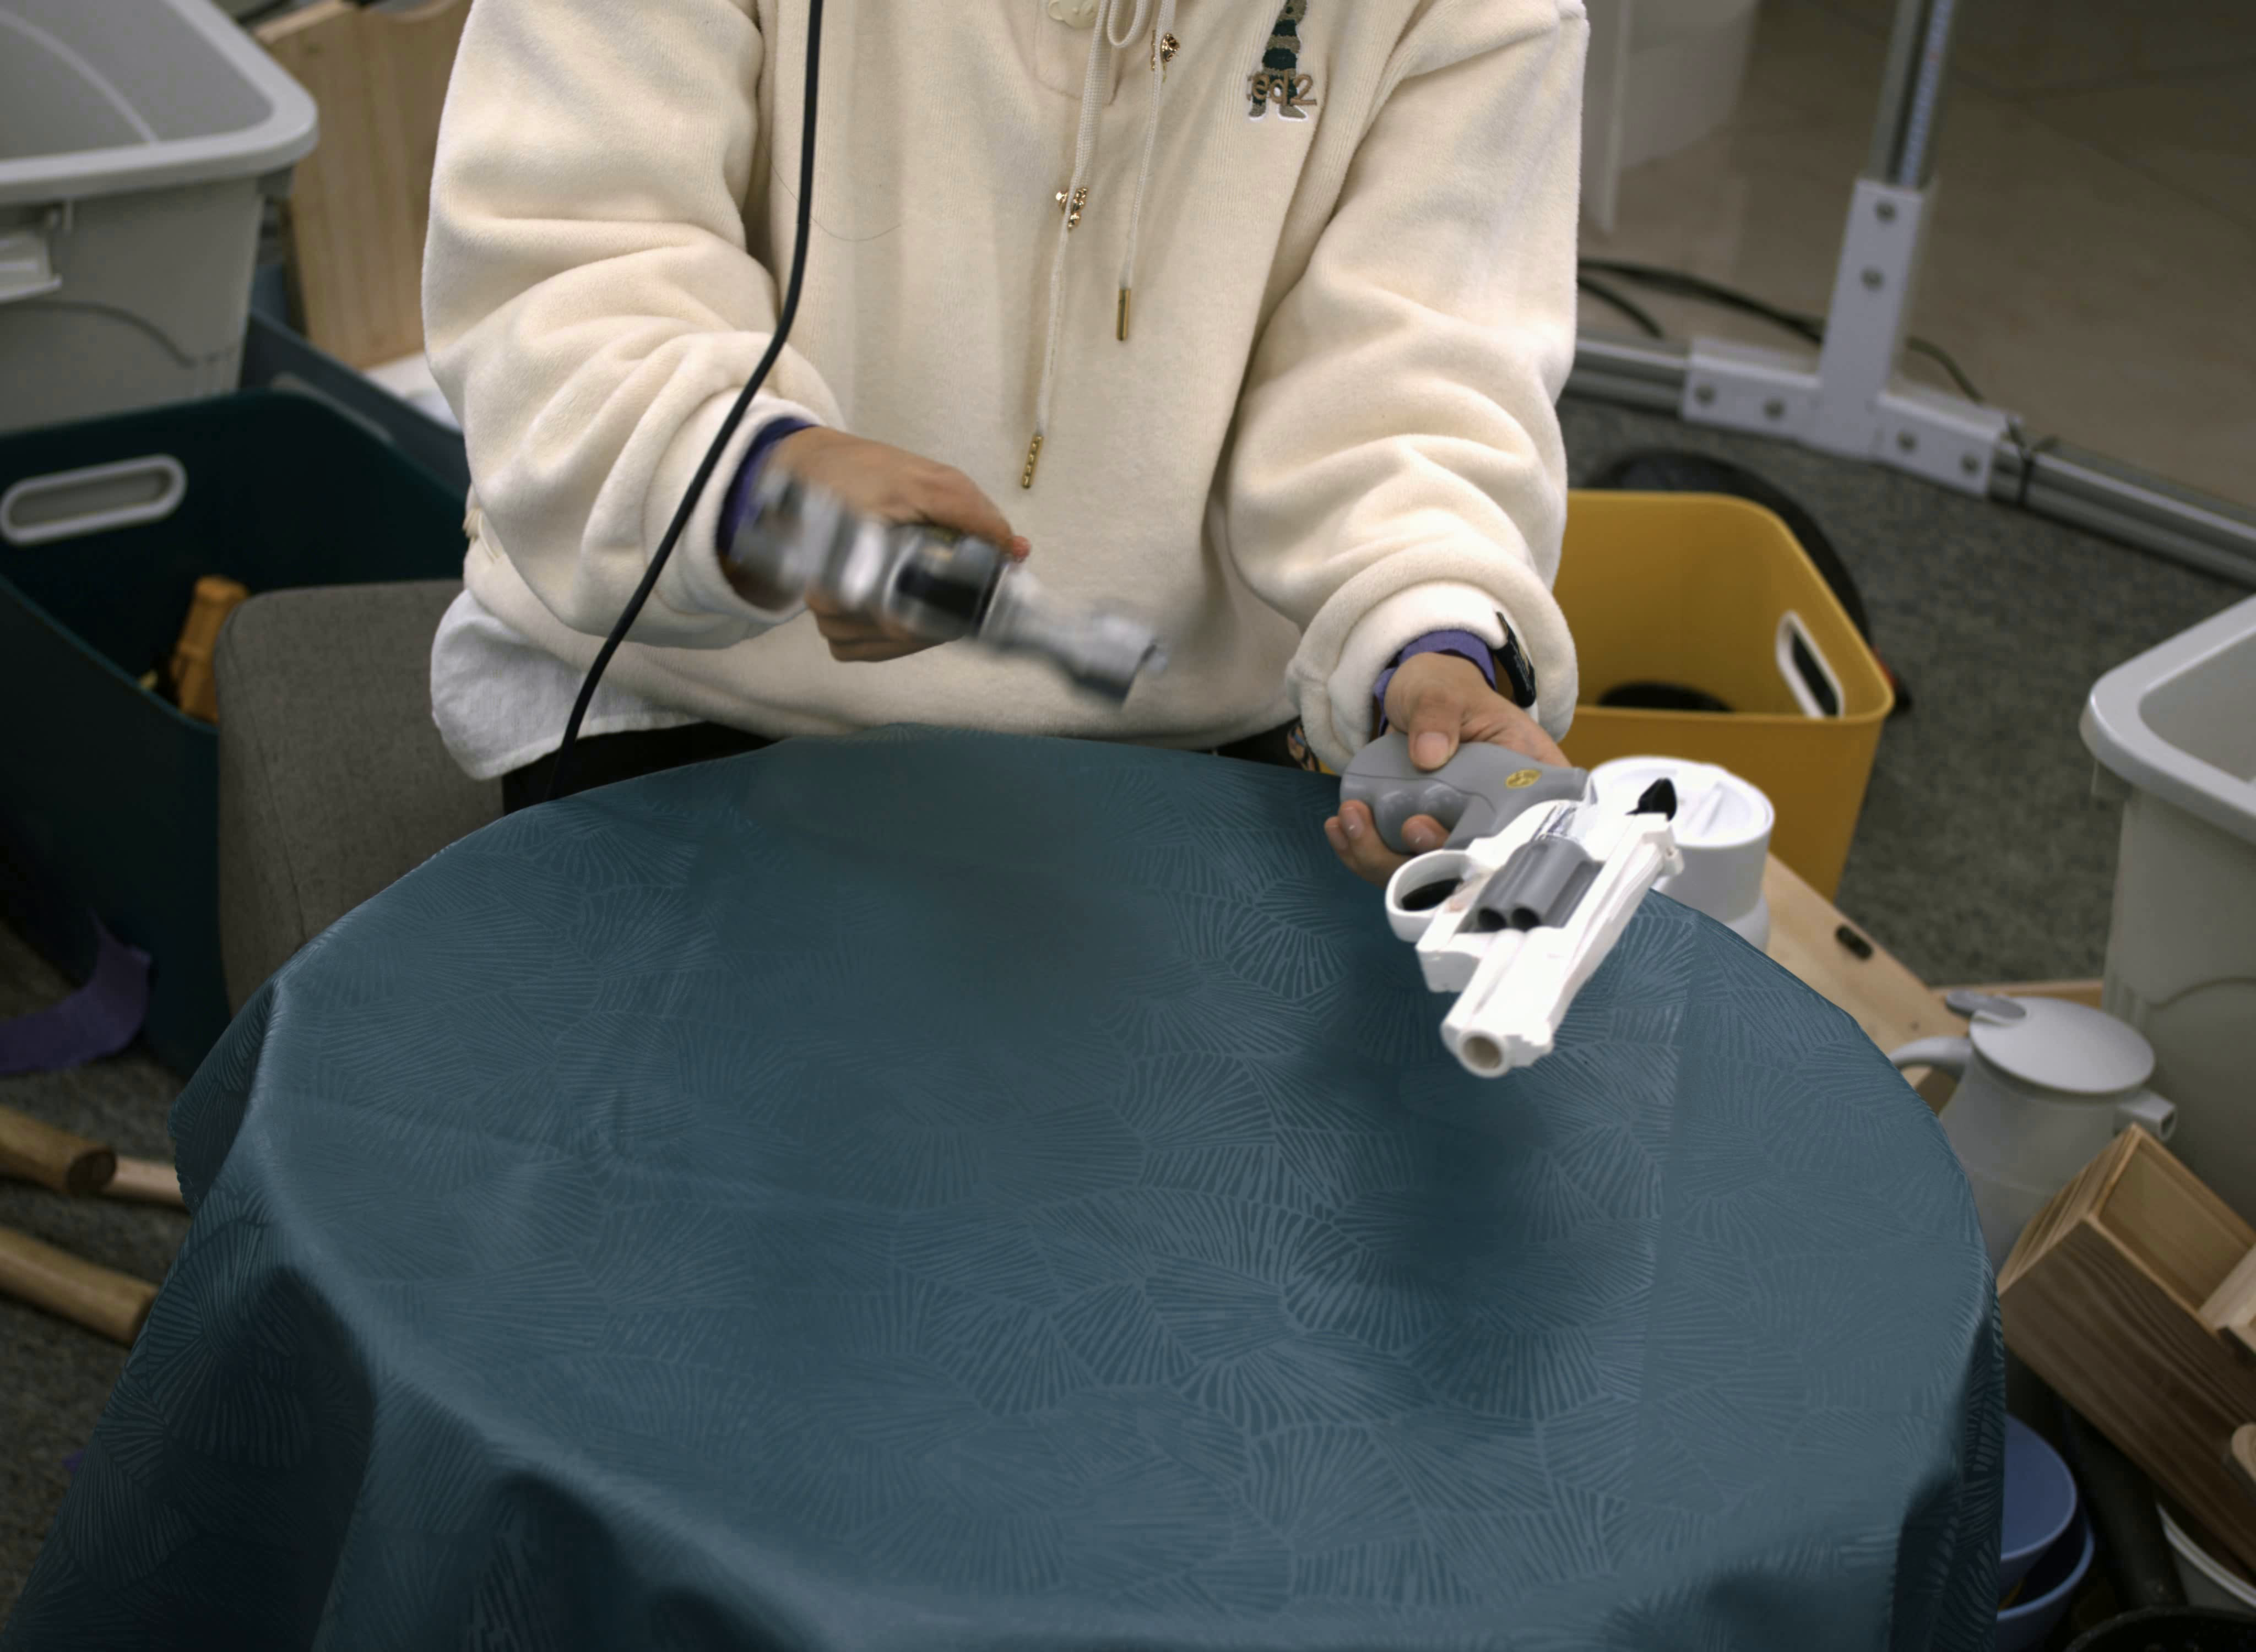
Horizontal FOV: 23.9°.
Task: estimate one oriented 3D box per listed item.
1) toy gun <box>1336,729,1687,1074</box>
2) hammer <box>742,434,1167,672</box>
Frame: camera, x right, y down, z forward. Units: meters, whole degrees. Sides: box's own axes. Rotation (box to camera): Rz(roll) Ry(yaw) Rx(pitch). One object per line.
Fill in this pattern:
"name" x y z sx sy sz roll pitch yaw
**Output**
"toy gun" 0.116 0.022 1.819 0.142 0.038 0.209 -4 29 27
"hammer" -0.061 -0.094 1.784 0.131 0.032 0.339 20 3 -4
